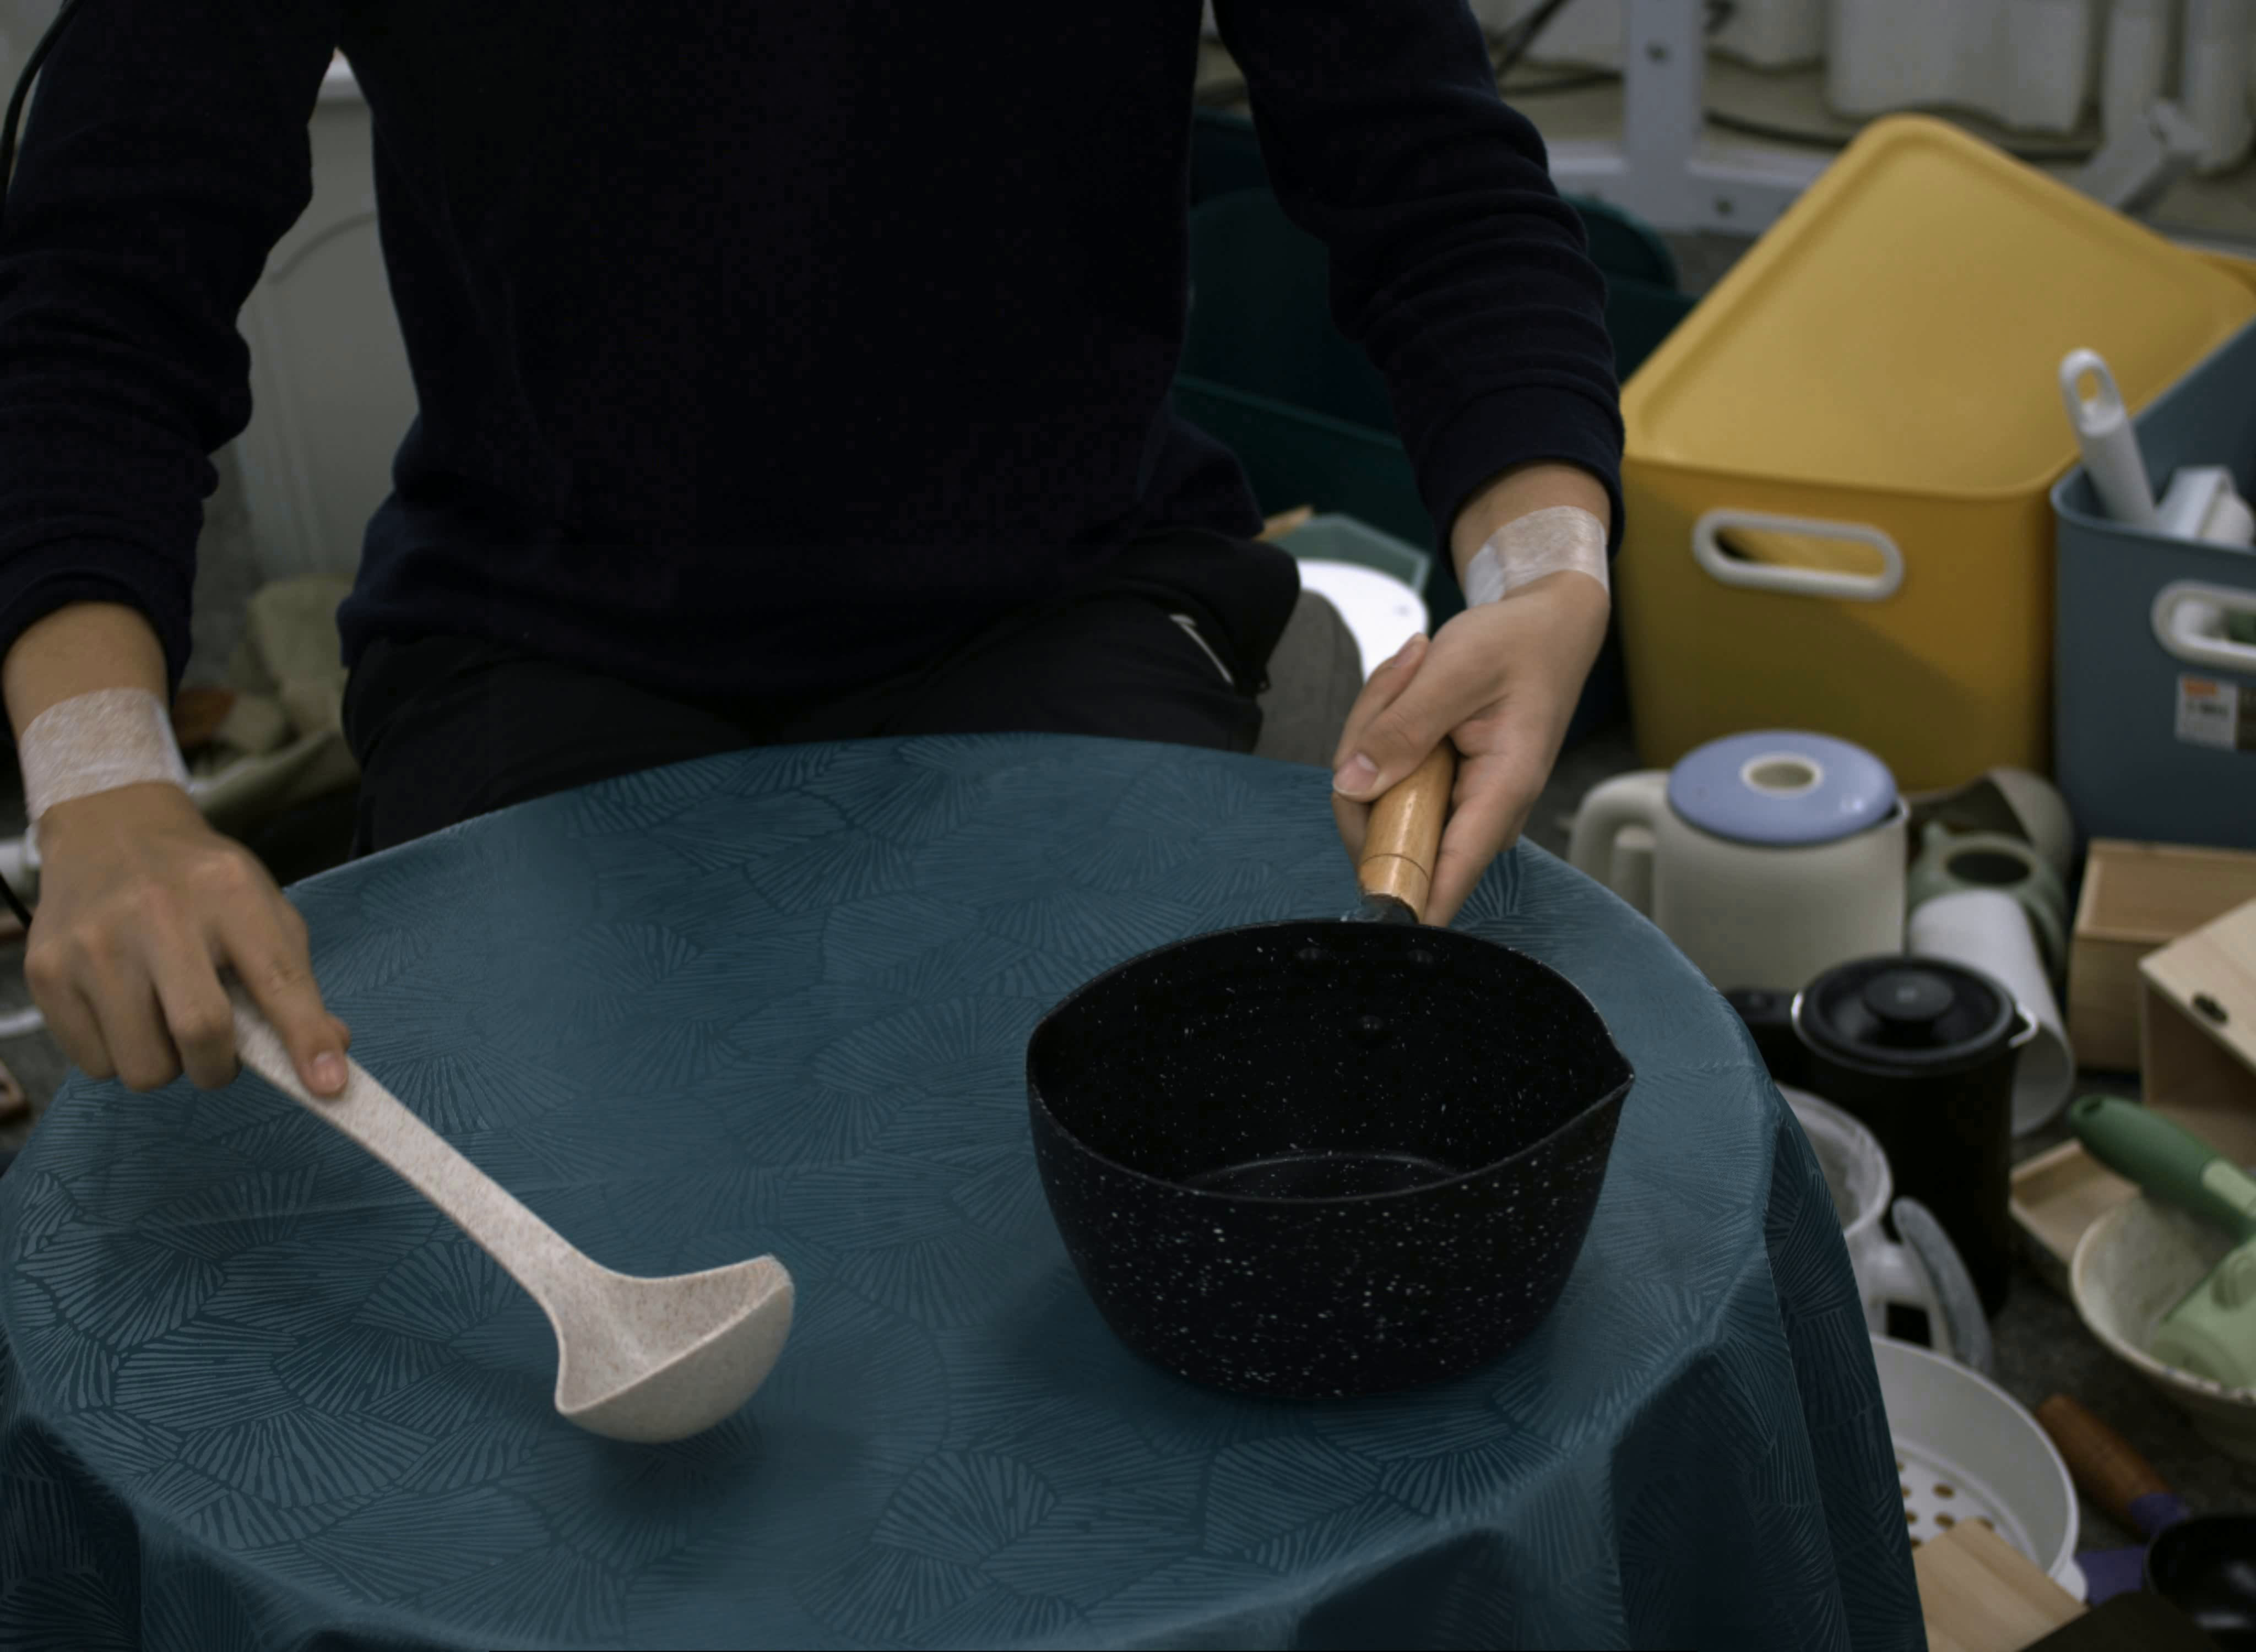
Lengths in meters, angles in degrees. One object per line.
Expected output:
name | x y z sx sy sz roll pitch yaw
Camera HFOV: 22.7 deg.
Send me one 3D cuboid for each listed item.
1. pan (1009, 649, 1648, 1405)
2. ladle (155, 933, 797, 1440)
pan | 0.076 0.062 1.854 0.206 0.107 0.348 1 28 10
ladle | -0.215 0.094 1.759 0.276 0.068 0.090 38 57 25
